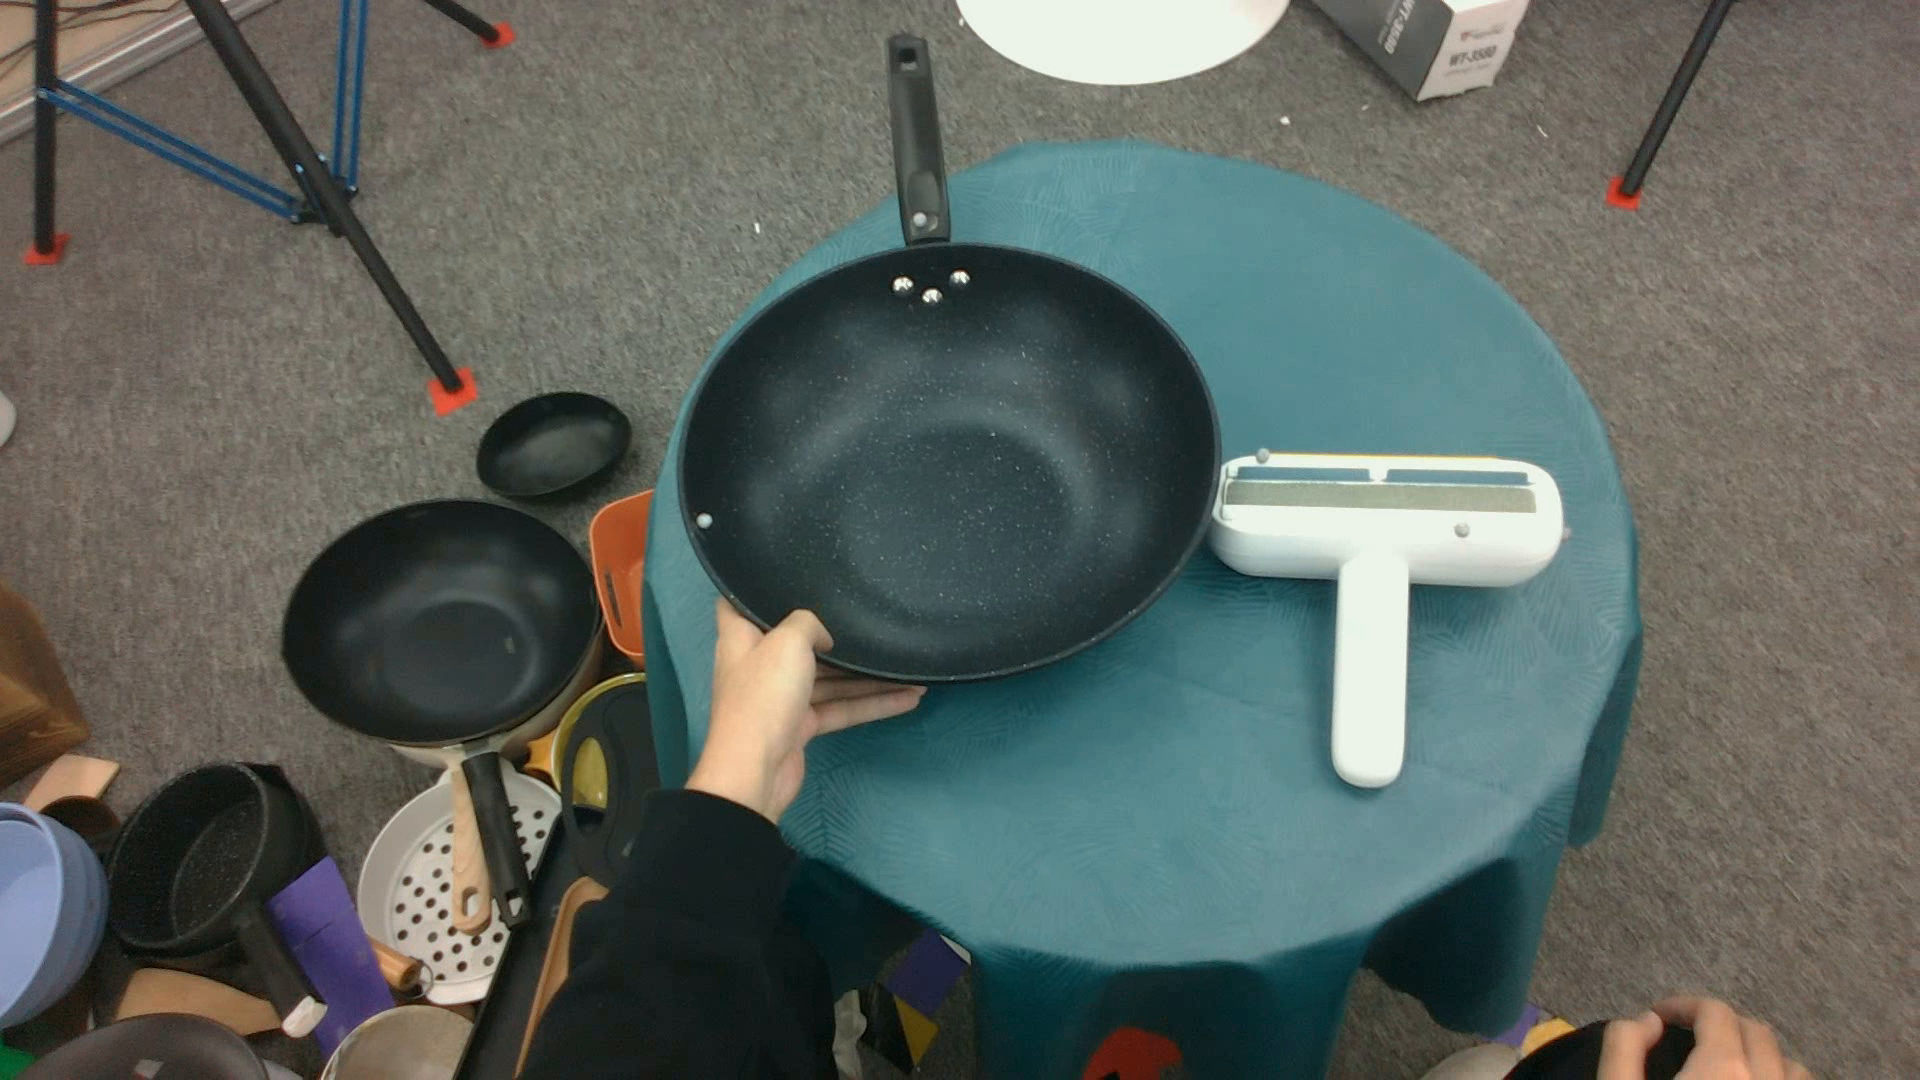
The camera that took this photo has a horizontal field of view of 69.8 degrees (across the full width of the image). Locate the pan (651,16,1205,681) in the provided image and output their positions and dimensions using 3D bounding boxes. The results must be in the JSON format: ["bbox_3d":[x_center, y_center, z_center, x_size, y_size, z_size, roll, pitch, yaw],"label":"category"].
[{"bbox_3d":[-0.027,-0.120,0.840,0.310,0.111,0.478,-6,59,-4],"label":"pan"}]

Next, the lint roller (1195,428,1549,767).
[{"bbox_3d":[0.219,0.029,0.765,0.192,0.074,0.193,8,61,13],"label":"lint roller"}]
